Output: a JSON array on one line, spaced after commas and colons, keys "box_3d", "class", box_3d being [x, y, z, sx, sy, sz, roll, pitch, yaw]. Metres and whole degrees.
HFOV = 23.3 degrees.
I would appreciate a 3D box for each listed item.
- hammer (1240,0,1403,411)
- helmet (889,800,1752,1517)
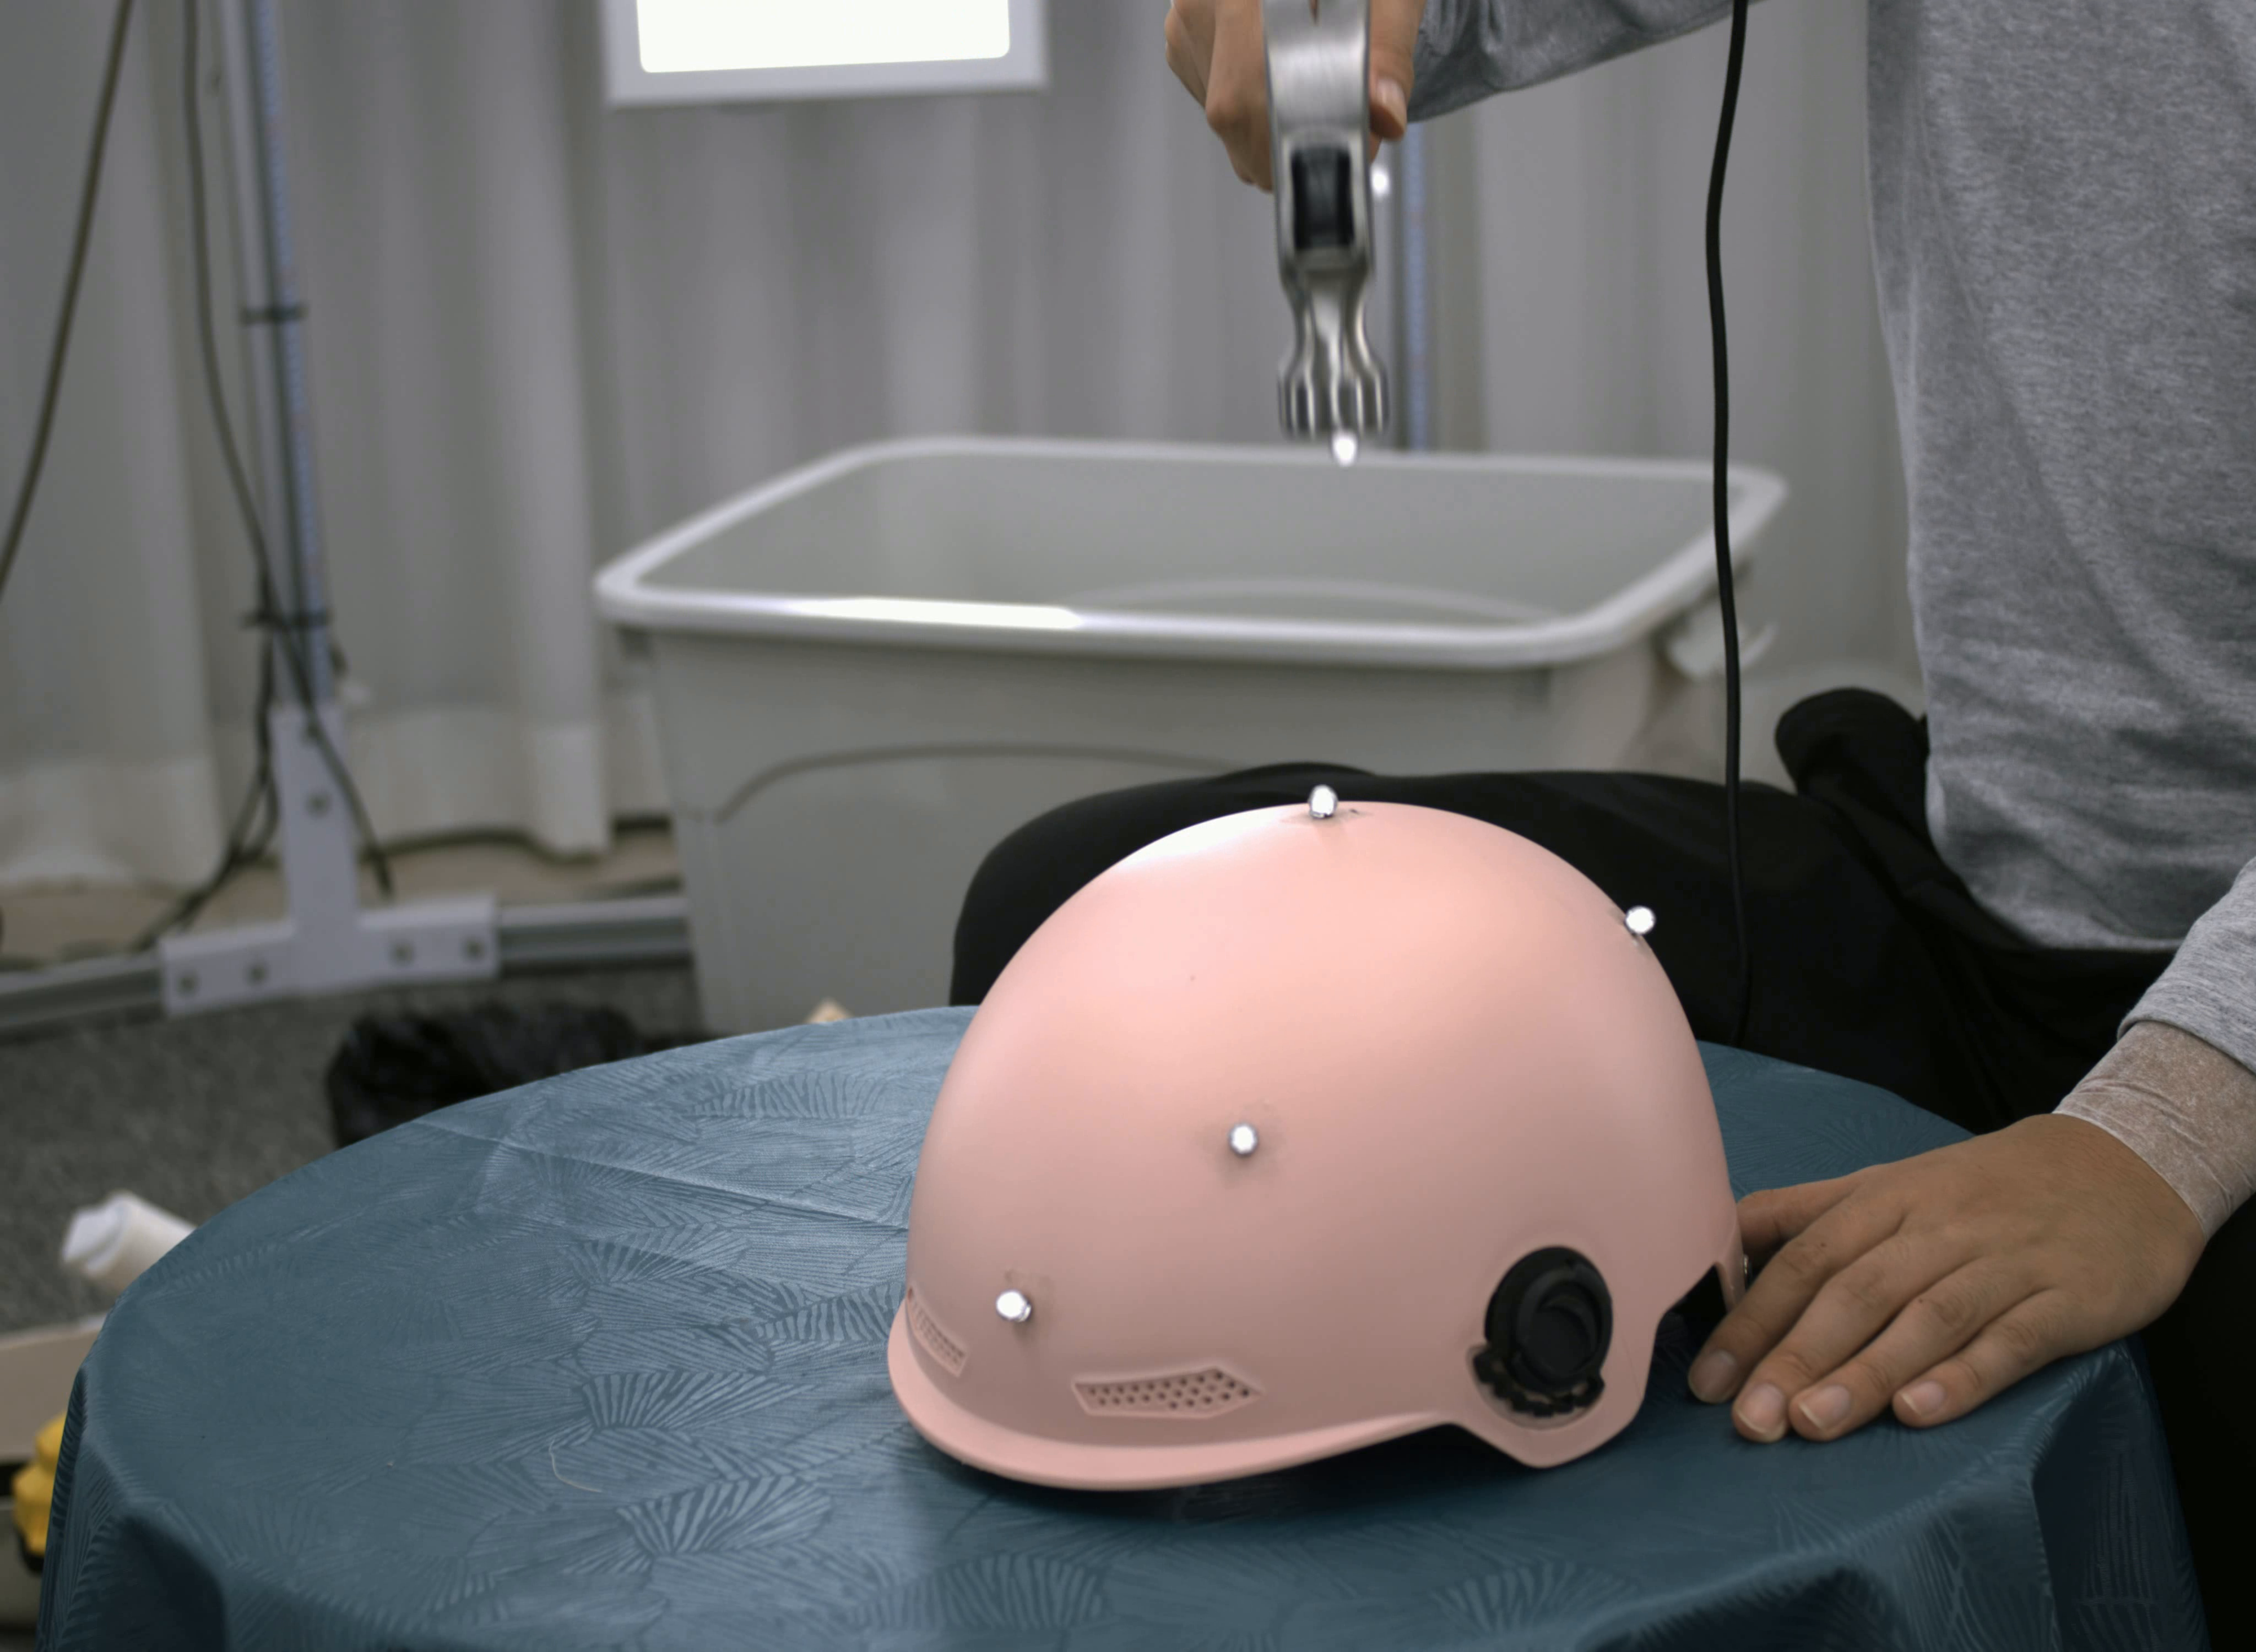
[{"box_3d": [0.052, -0.212, 1.612, 0.032, 0.131, 0.340, -7, 13, 1], "class": "hammer"}, {"box_3d": [0.049, 0.080, 1.545, 0.235, 0.158, 0.266, 10, 23, 41], "class": "helmet"}]
